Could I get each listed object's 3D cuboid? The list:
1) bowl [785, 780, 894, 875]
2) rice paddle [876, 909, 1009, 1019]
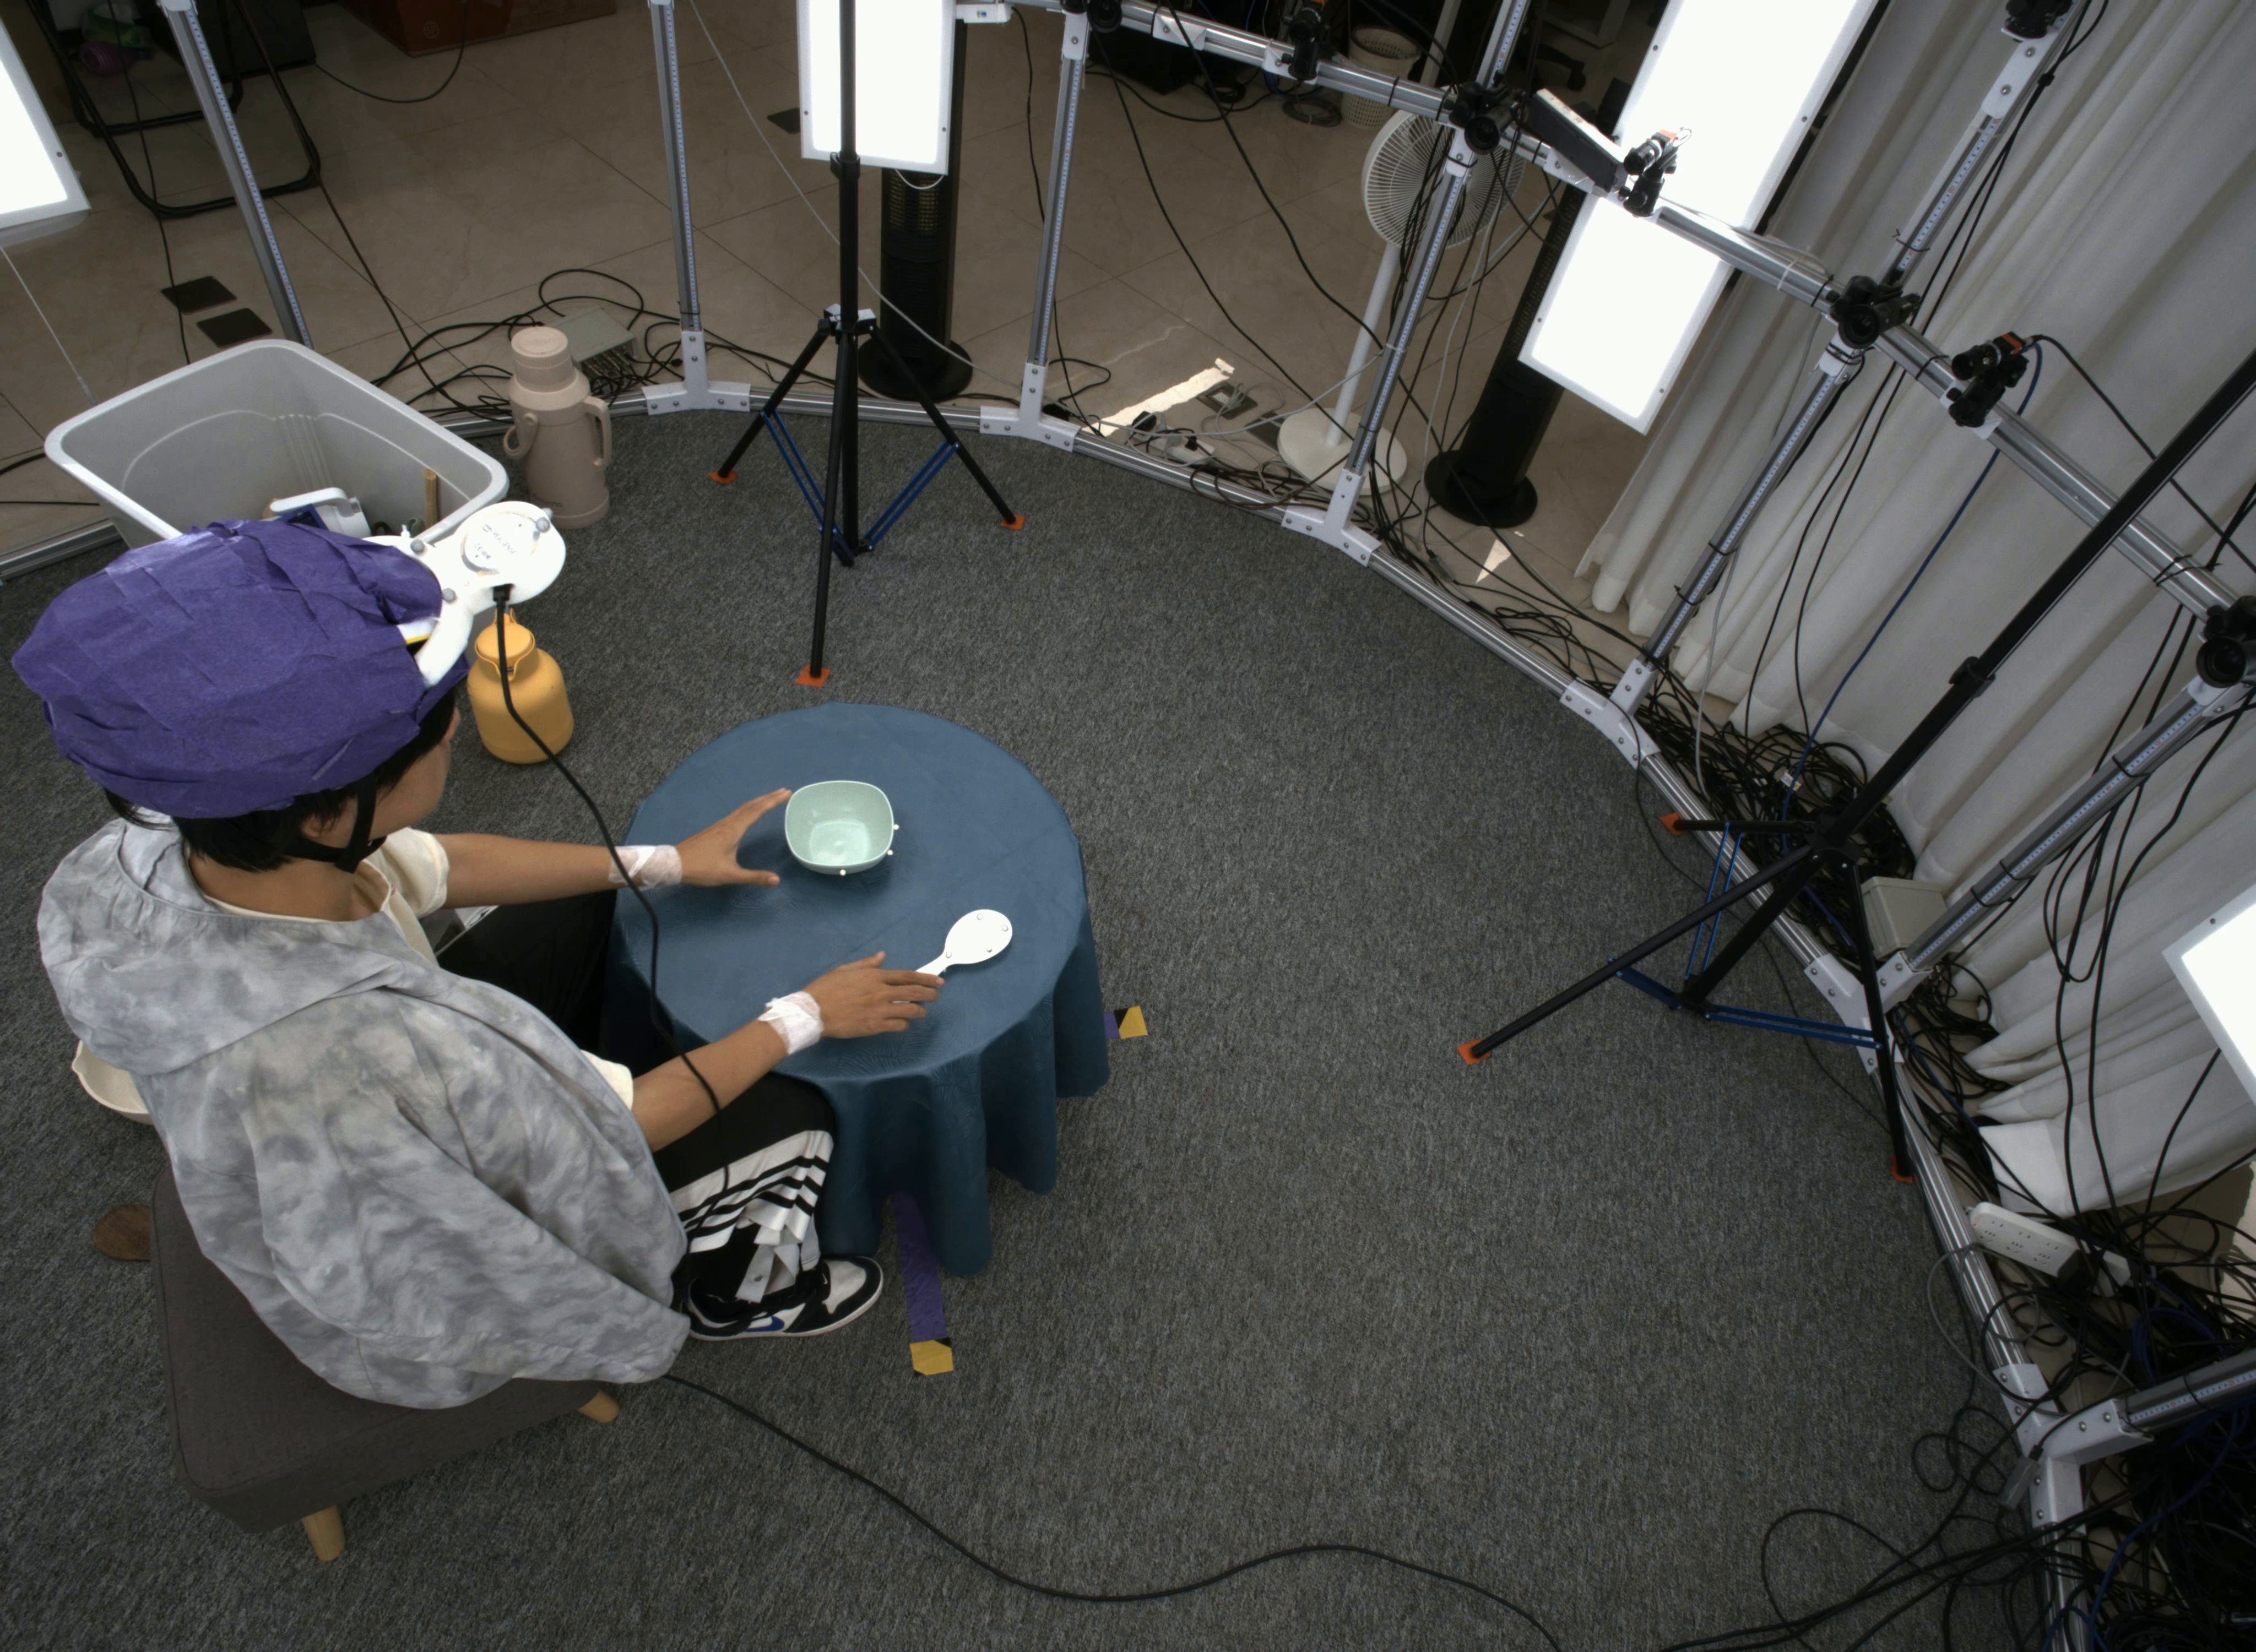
[{"bbox_3d":[-0.376,0.011,1.692,0.151,0.059,0.149,9,52,-10],"label":"bowl"},{"bbox_3d":[-0.229,0.166,1.631,0.067,0.030,0.205,41,55,16],"label":"rice paddle"}]
